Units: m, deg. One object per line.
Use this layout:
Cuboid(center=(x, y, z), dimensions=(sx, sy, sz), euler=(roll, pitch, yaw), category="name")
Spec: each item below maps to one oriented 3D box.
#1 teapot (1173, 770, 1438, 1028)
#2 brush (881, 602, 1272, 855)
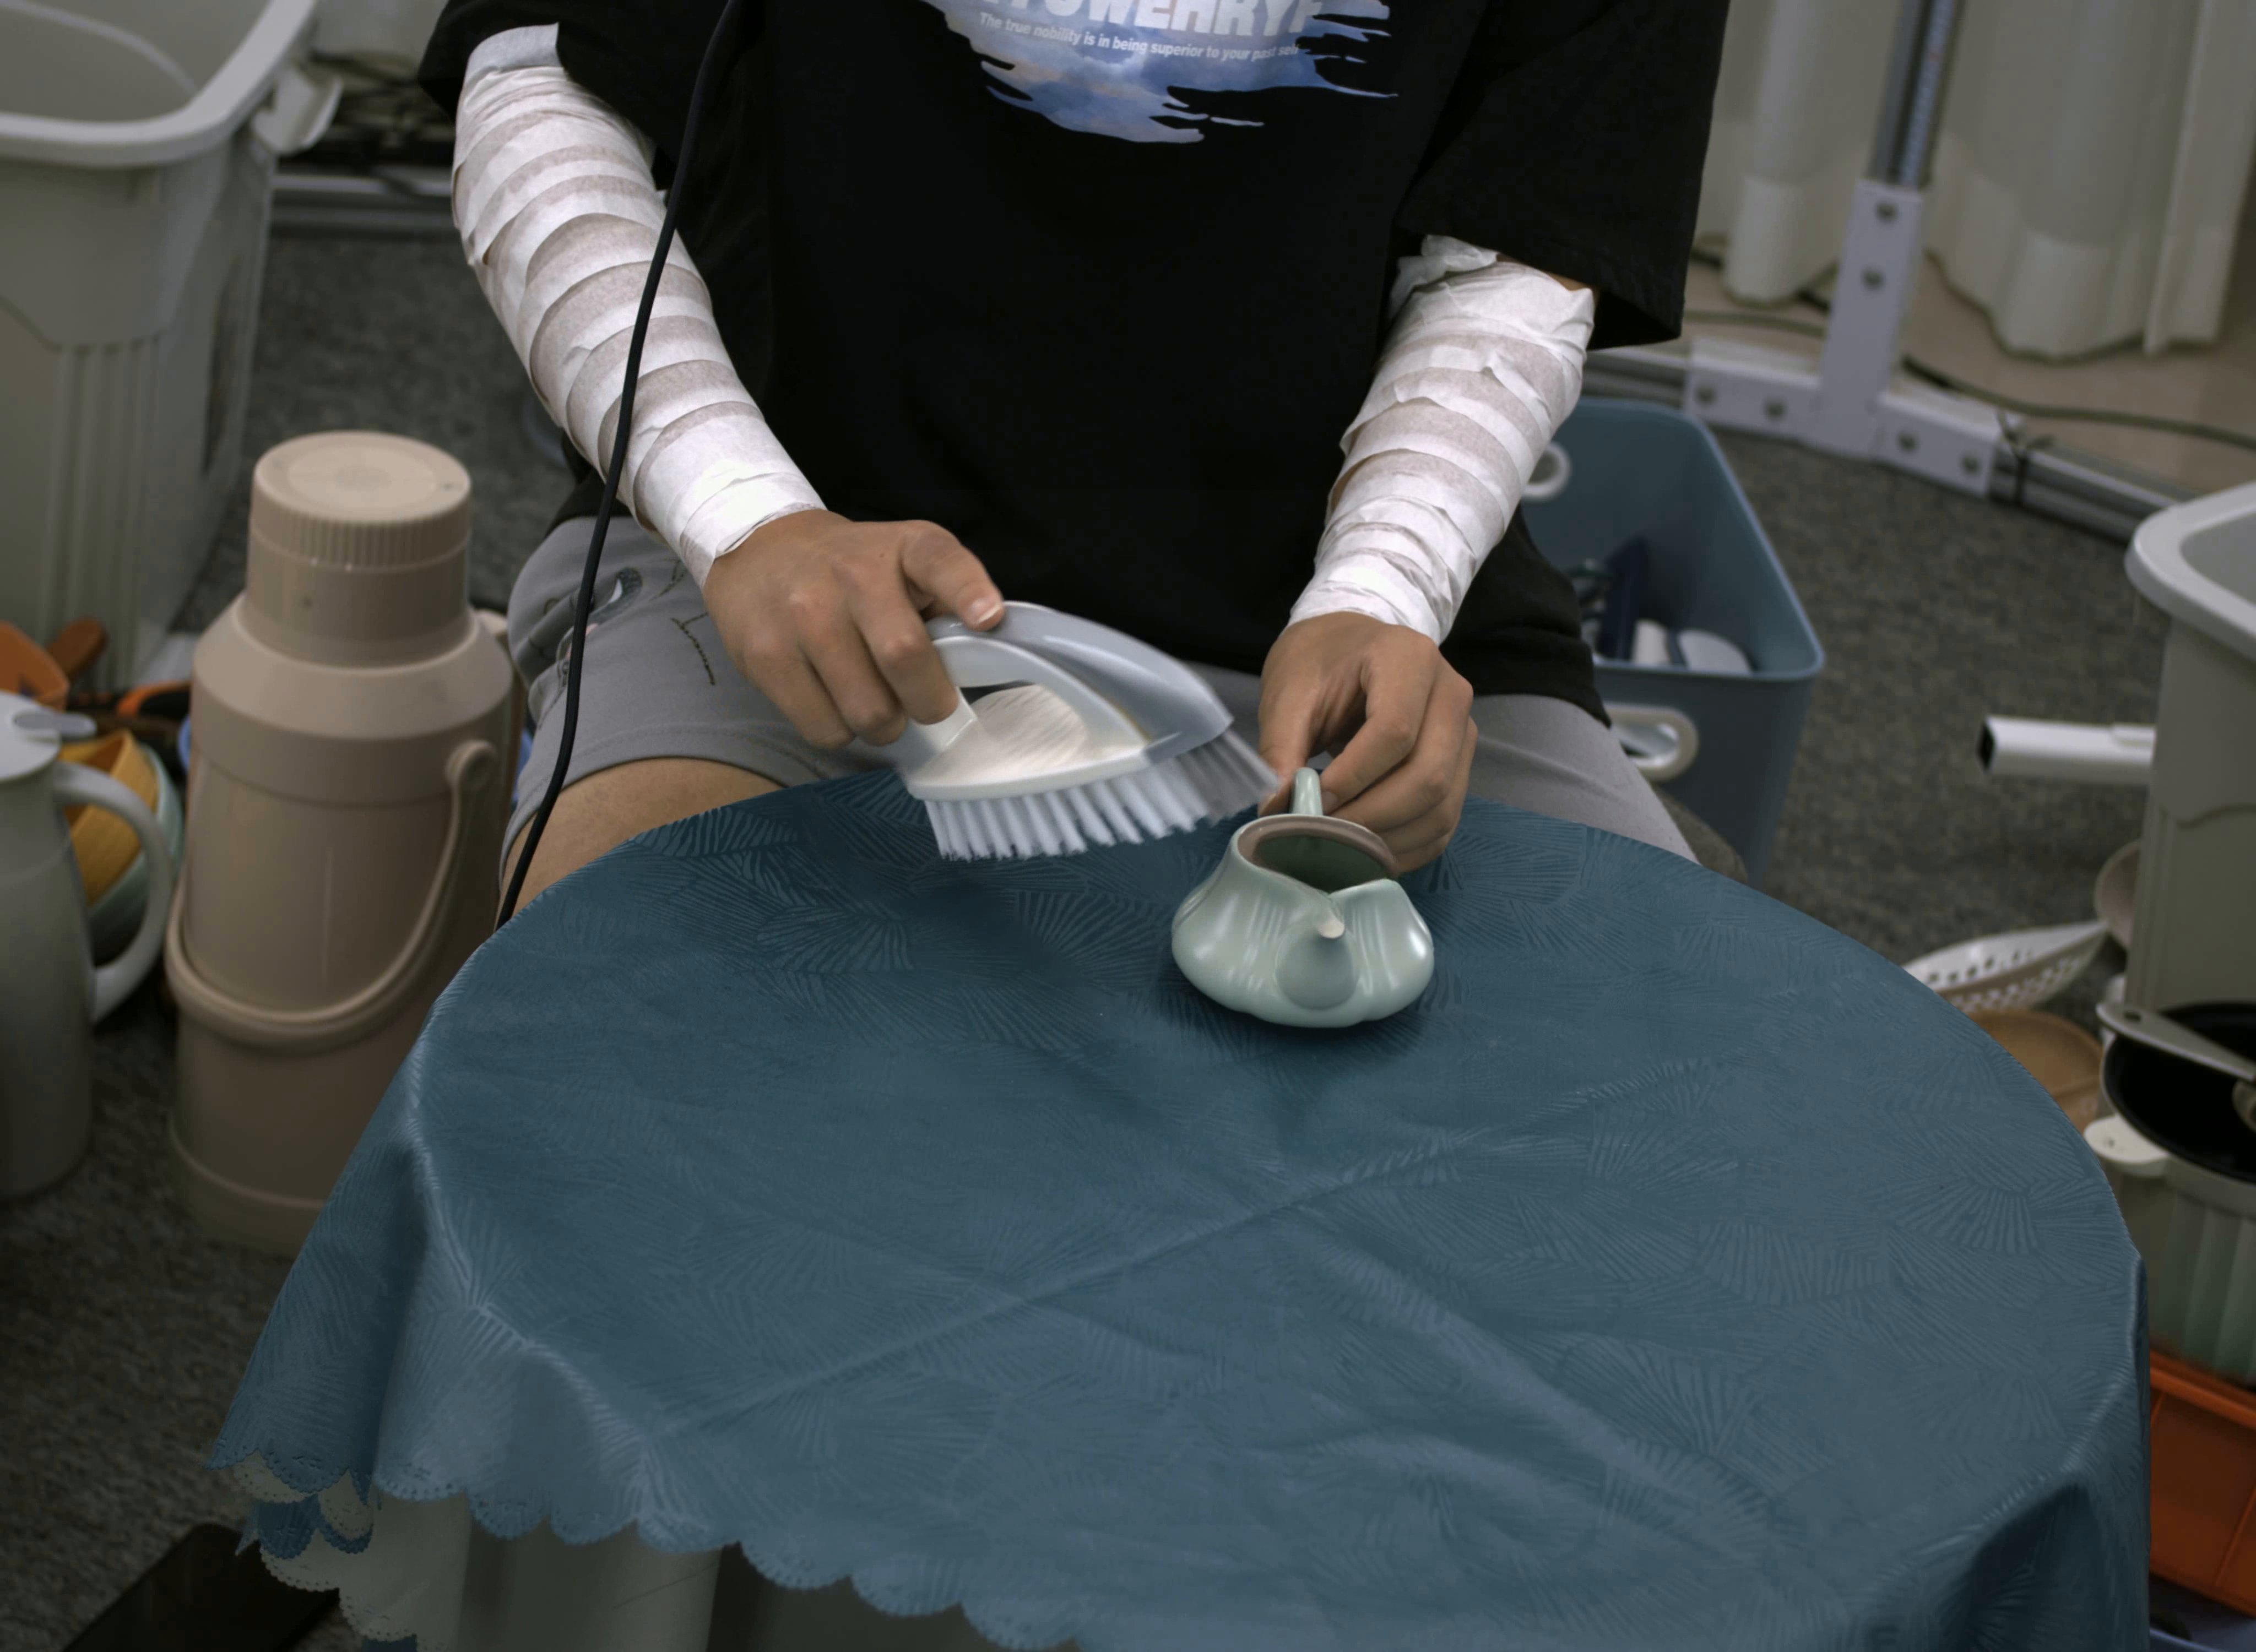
Cuboid(center=(0.065, 0.031, 1.935), dimensions=(0.096, 0.061, 0.138), euler=(1, 27, -6), category="teapot")
Cuboid(center=(-0.025, -0.042, 1.913), dimensions=(0.176, 0.093, 0.061), euler=(1, 43, 52), category="brush")
